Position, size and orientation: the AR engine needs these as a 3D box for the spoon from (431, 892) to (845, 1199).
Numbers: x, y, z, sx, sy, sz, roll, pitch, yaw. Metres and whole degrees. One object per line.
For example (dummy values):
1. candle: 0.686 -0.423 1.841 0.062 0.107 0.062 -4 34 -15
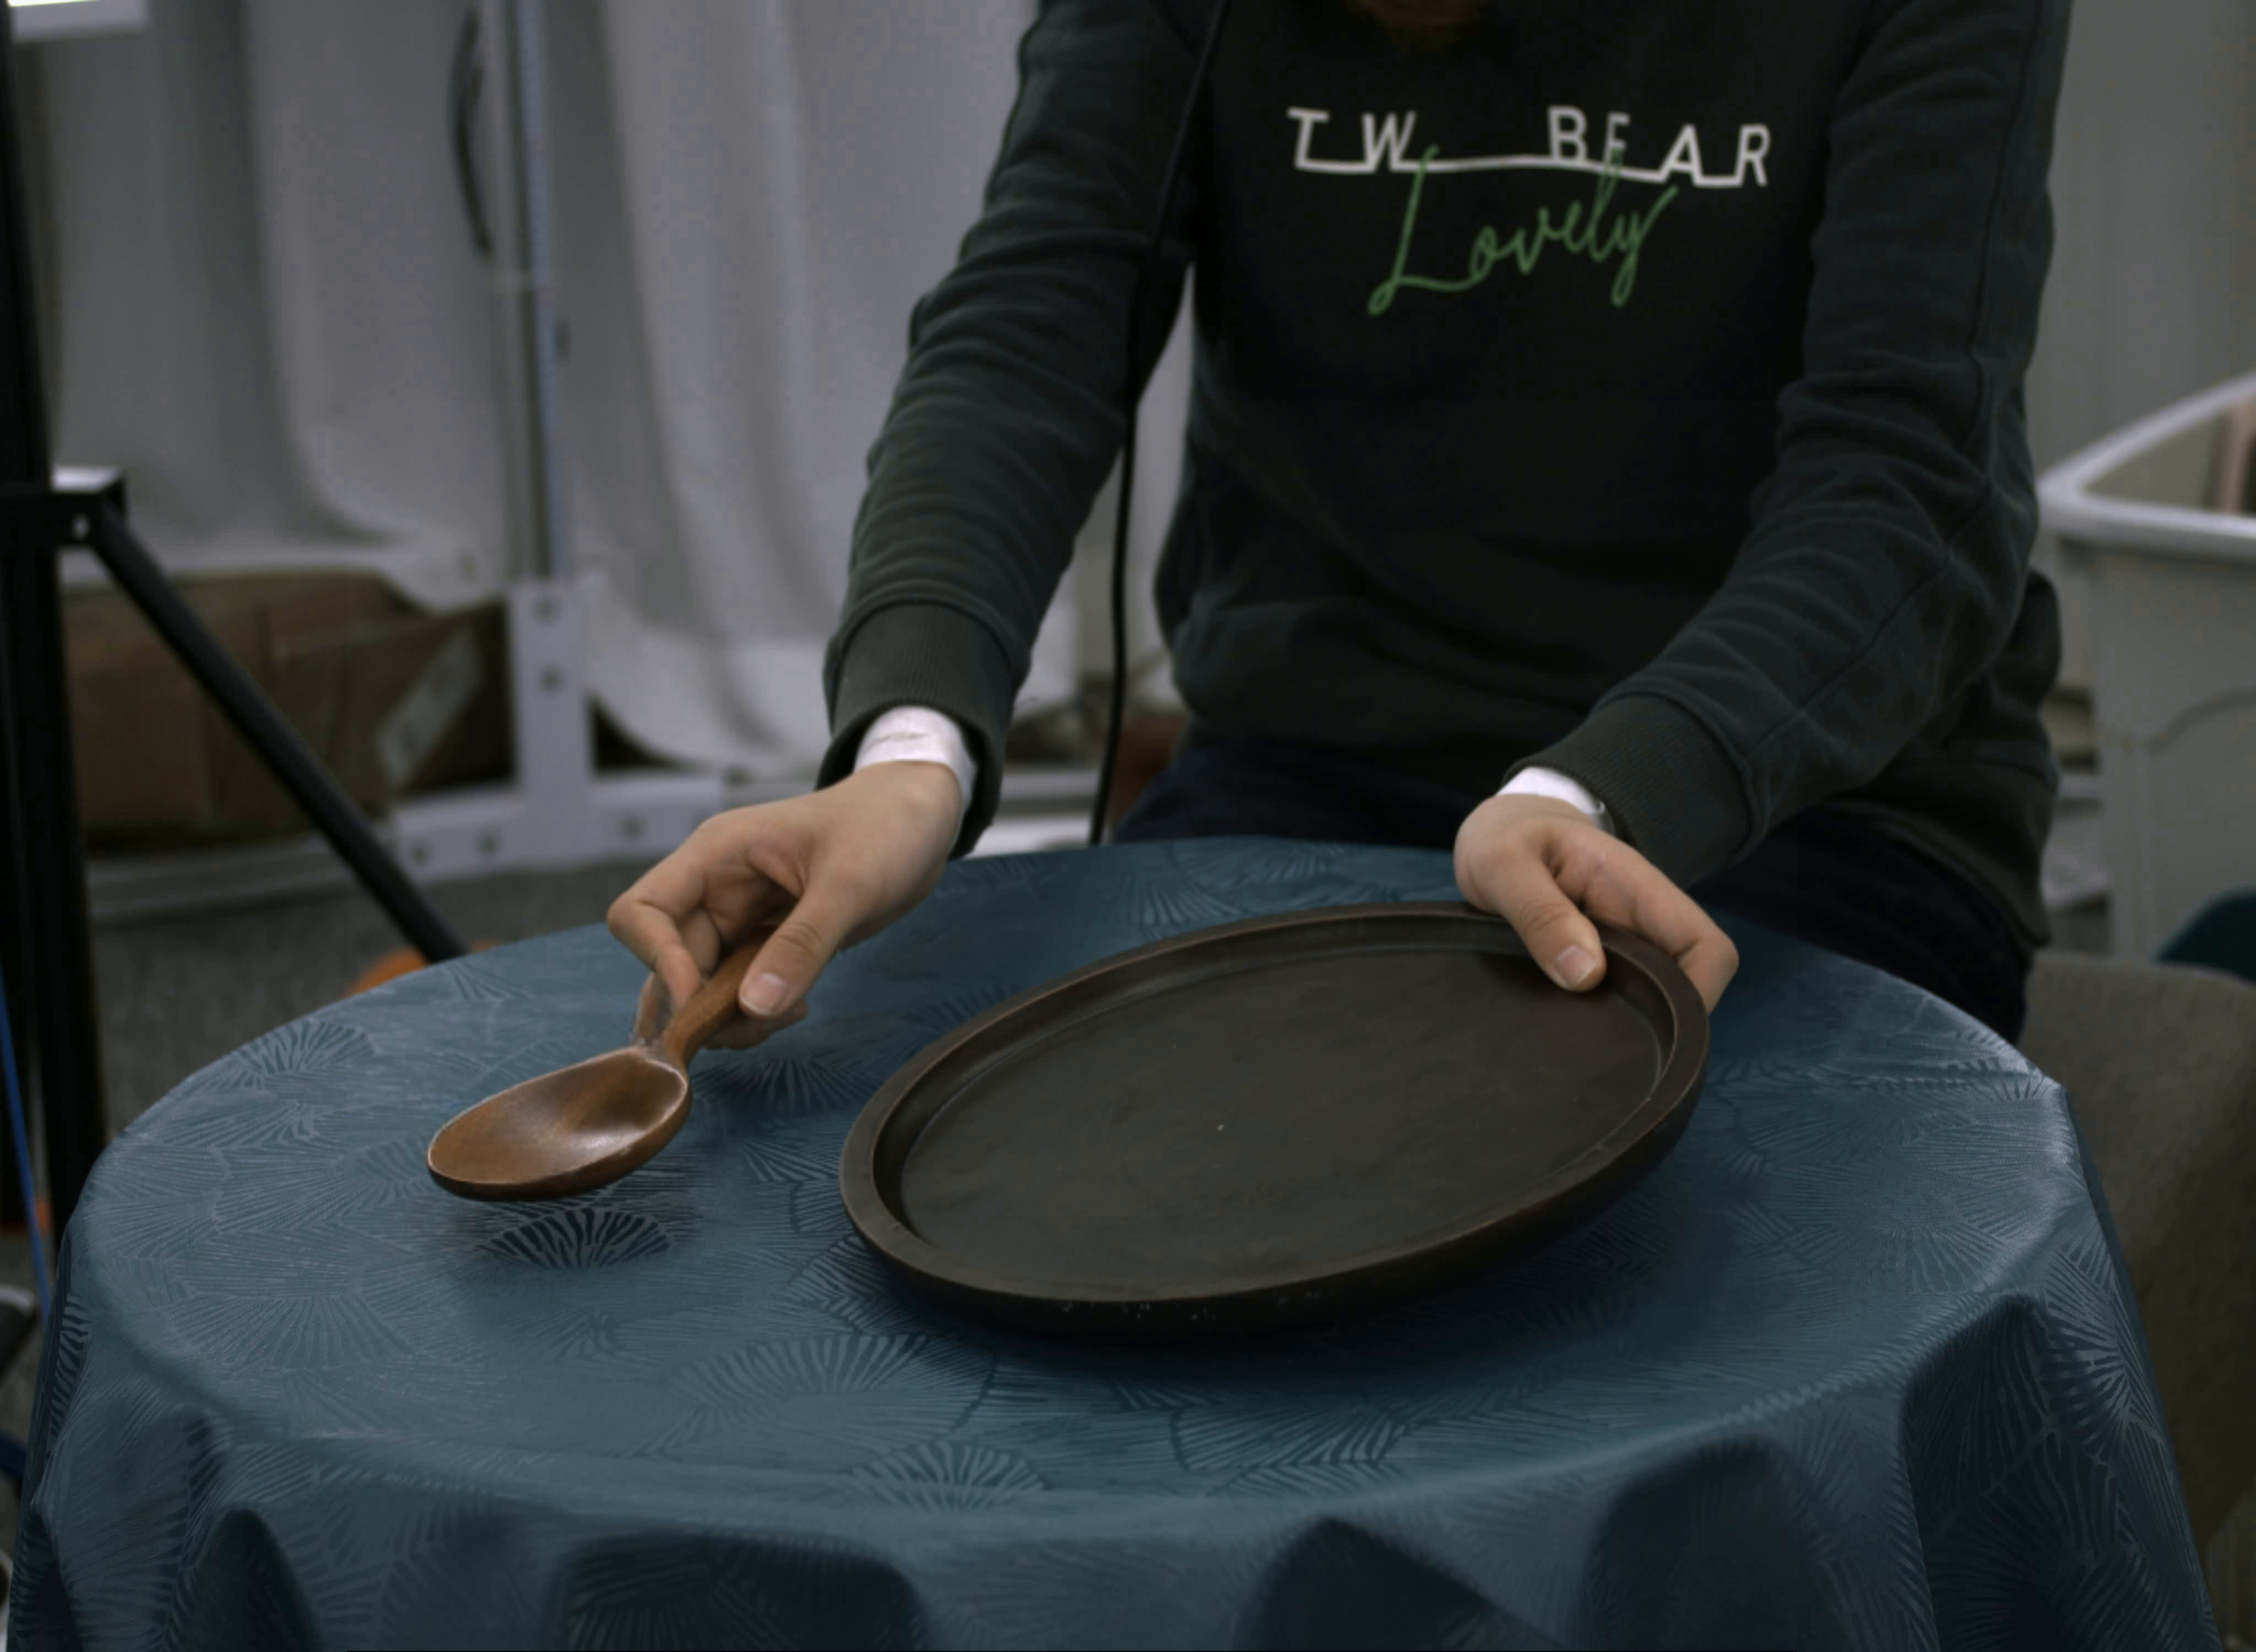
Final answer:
1. spoon: -0.139 0.068 1.611 0.076 0.017 0.213 -3 21 26

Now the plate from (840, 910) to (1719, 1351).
1. plate: 0.043 0.084 1.510 0.254 0.029 0.256 -11 23 3
